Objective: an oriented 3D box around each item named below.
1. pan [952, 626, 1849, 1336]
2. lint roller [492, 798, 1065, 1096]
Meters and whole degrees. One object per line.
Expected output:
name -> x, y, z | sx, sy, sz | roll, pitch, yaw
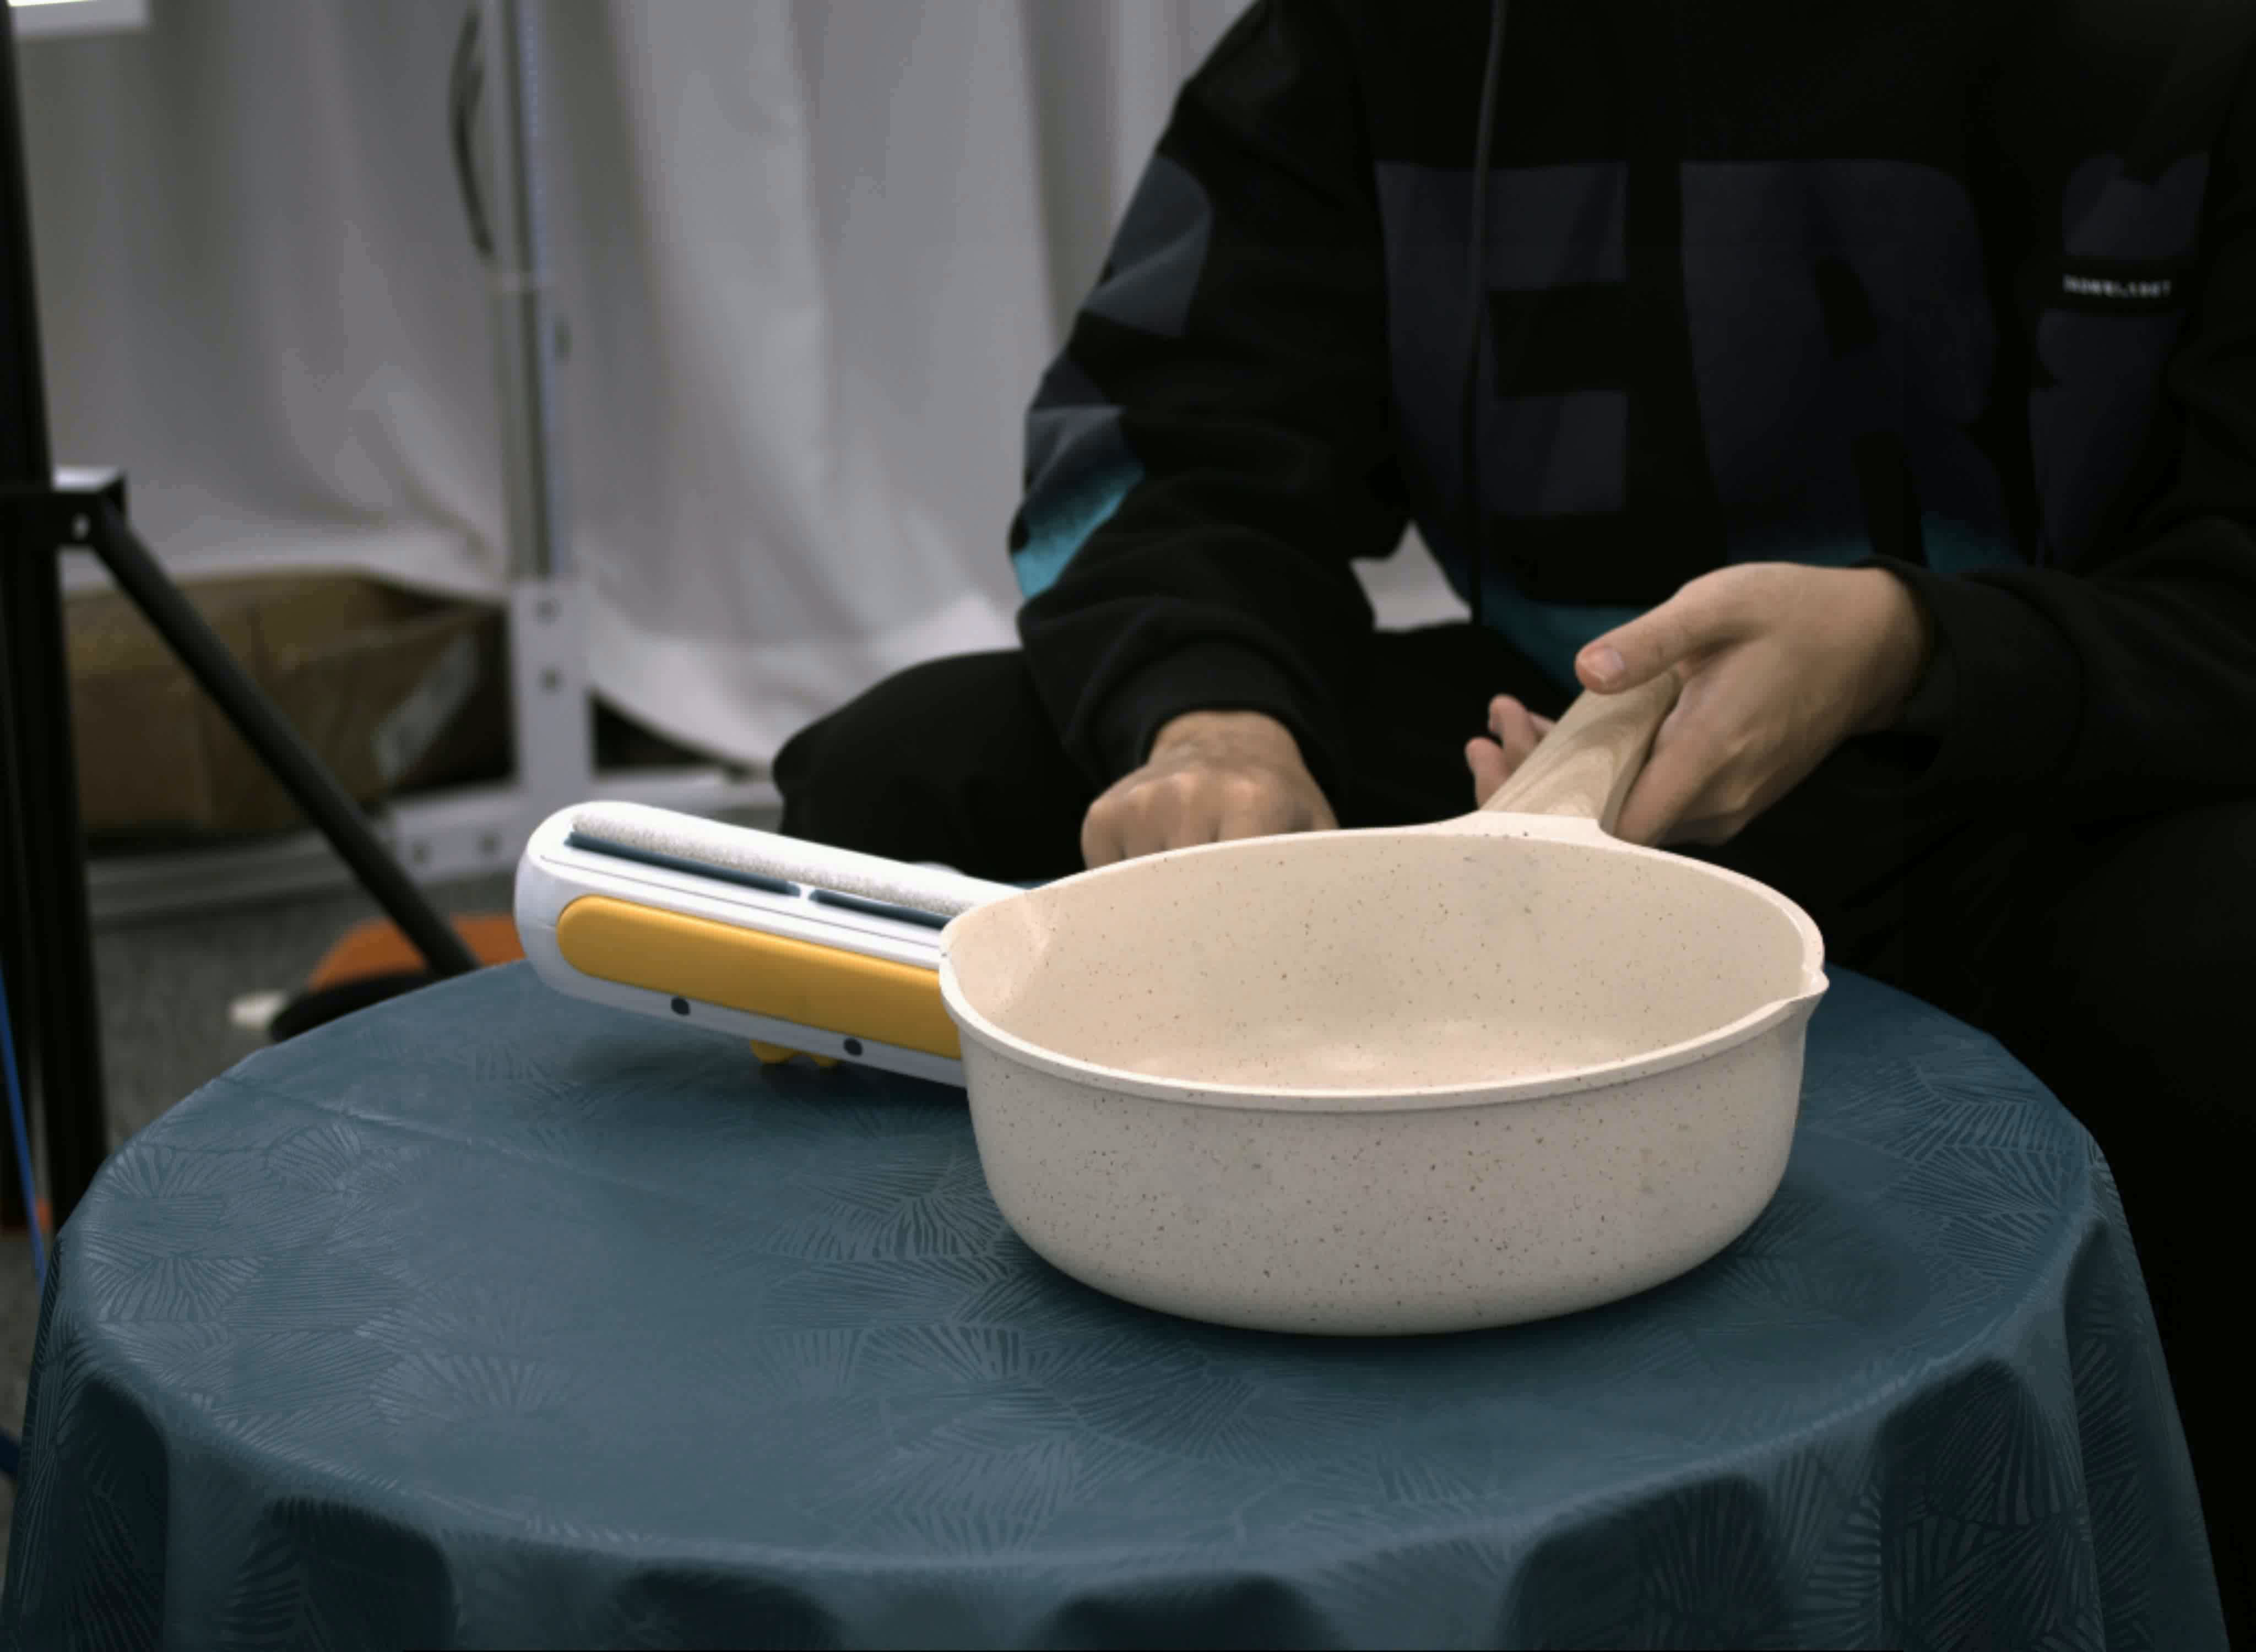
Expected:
pan -> 0.111, 0.042, 1.589 | 0.267, 0.102, 0.429 | 1, 16, 23
lint roller -> -0.088, 0.029, 1.727 | 0.195, 0.074, 0.190 | 9, 17, 19
